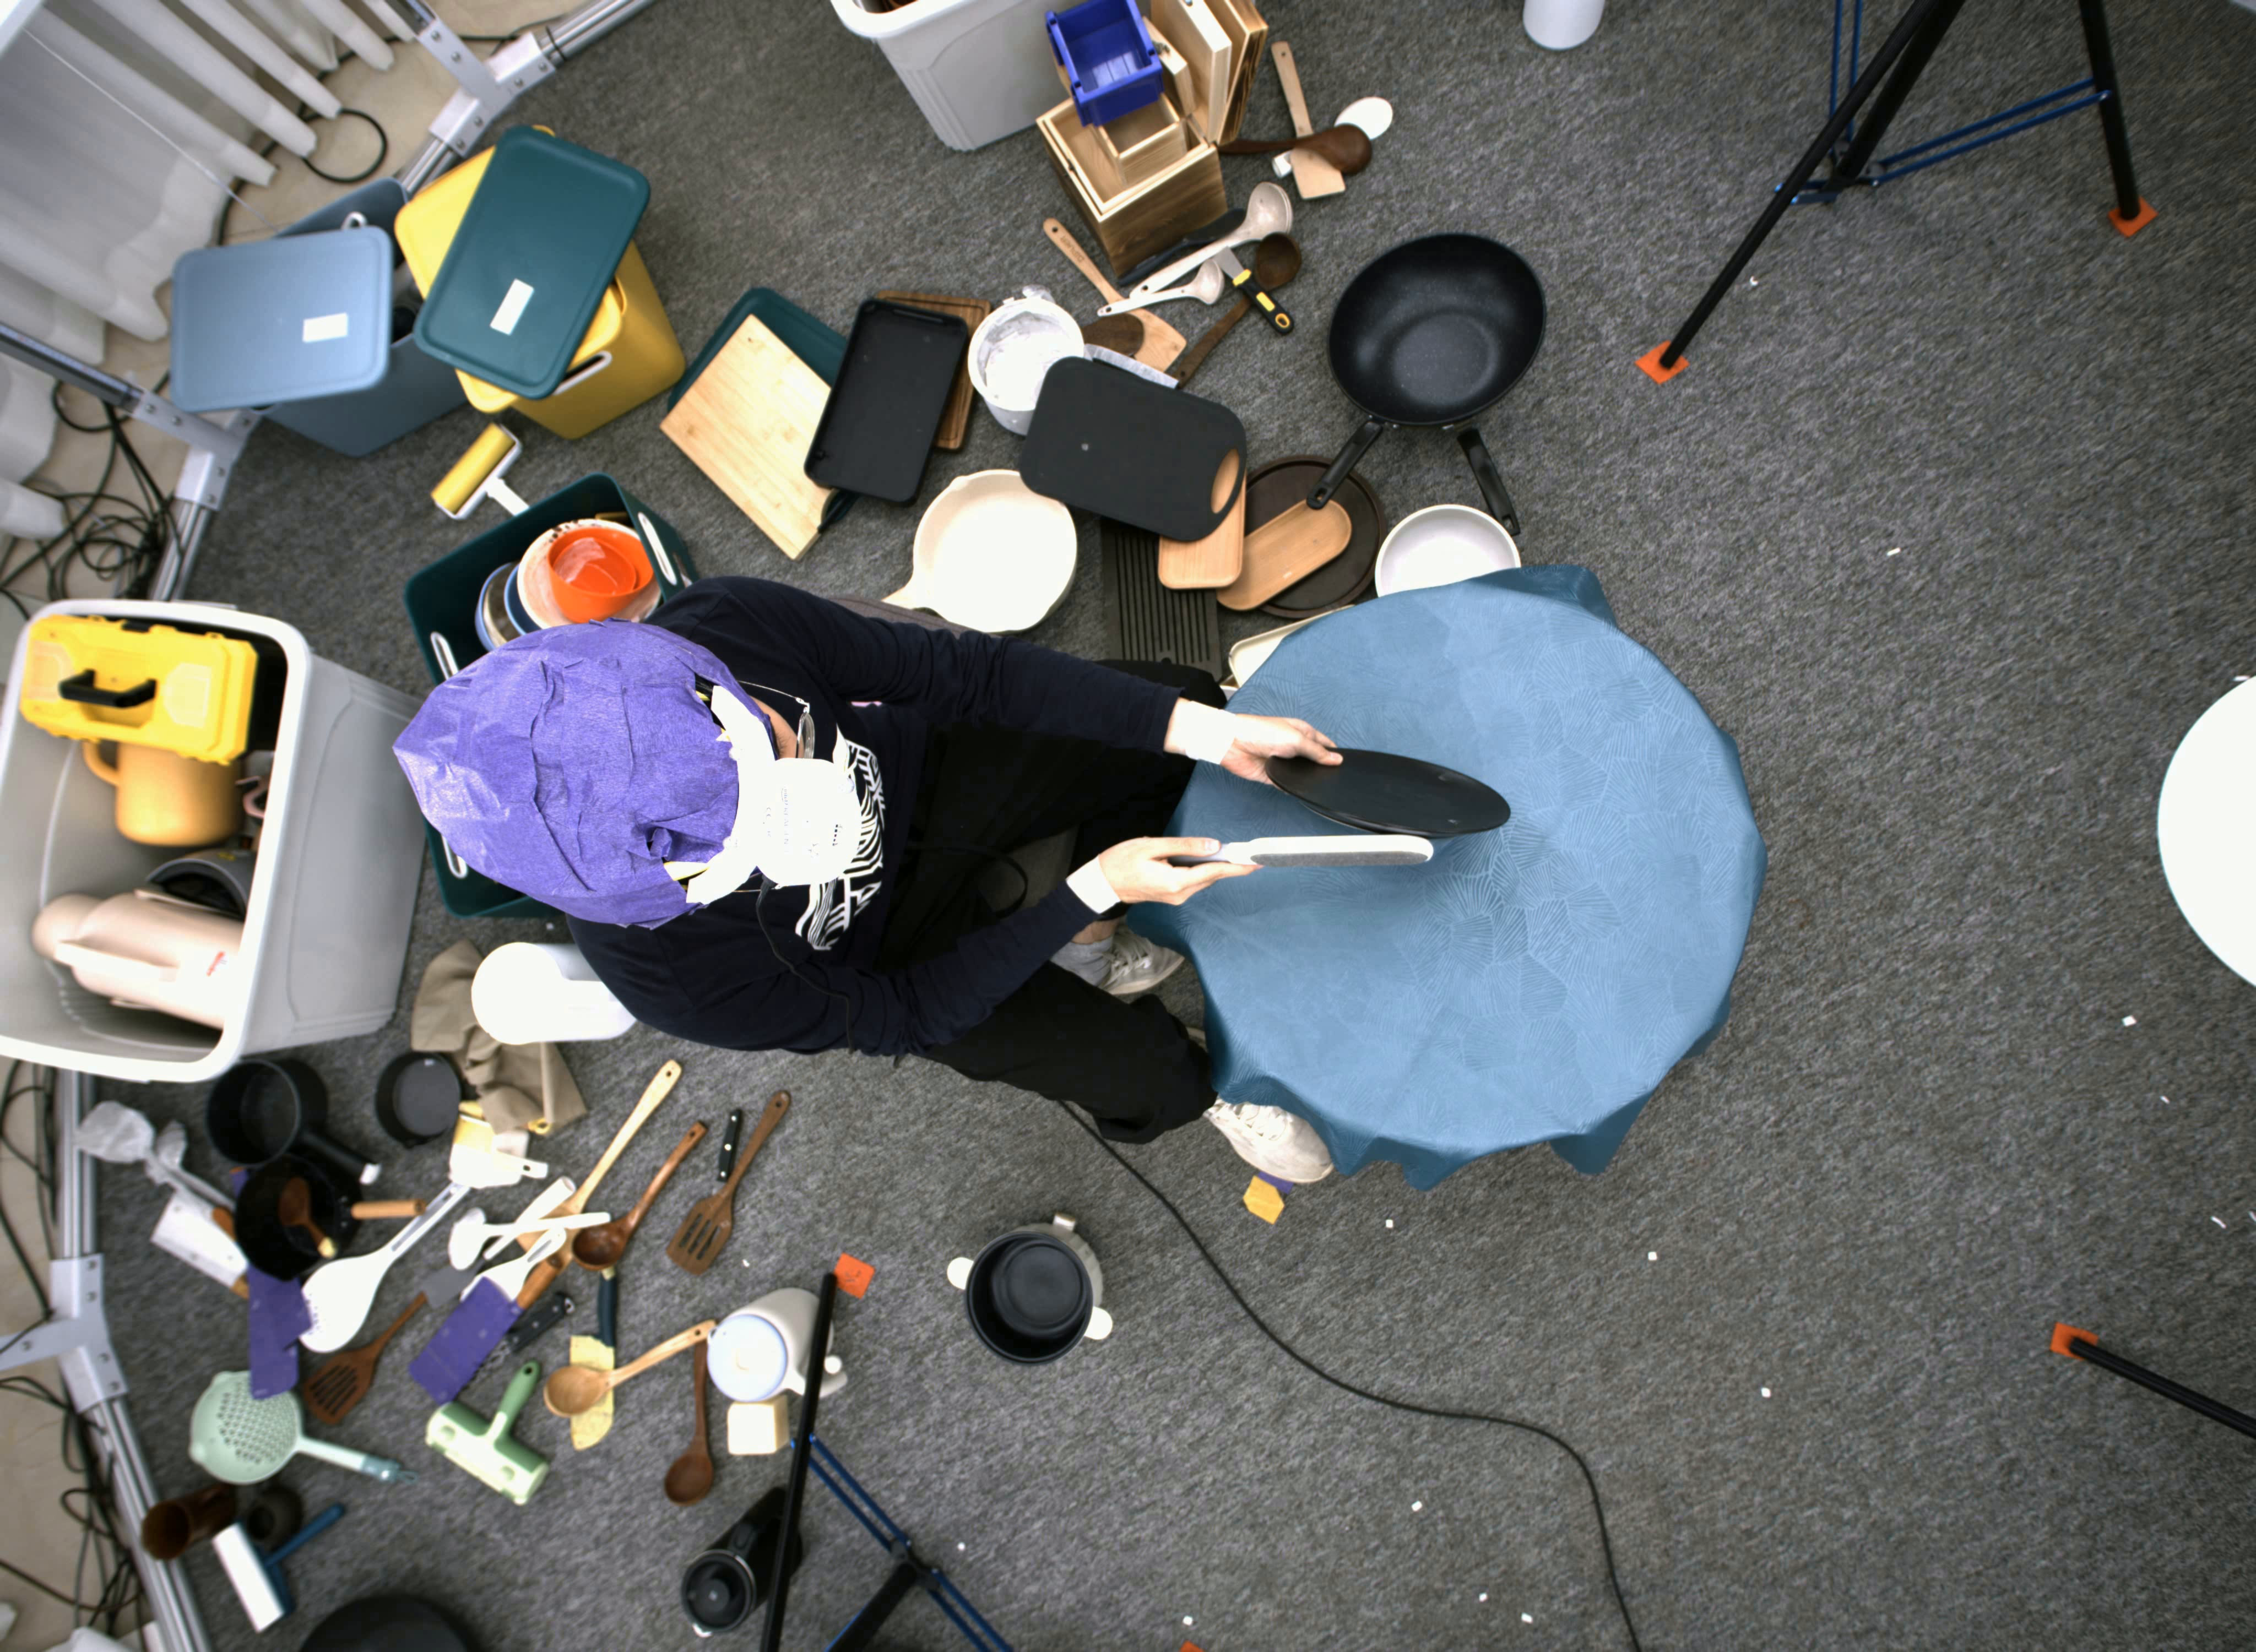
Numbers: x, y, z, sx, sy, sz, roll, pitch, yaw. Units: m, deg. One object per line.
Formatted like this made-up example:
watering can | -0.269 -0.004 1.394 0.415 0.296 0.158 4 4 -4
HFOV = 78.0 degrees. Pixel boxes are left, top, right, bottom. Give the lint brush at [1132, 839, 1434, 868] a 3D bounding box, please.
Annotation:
lint brush | 0.144 0.027 1.342 0.311 0.060 0.021 -2 79 26

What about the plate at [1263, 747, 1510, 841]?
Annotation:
plate | 0.252 -0.030 1.354 0.245 0.240 0.024 13 110 11
